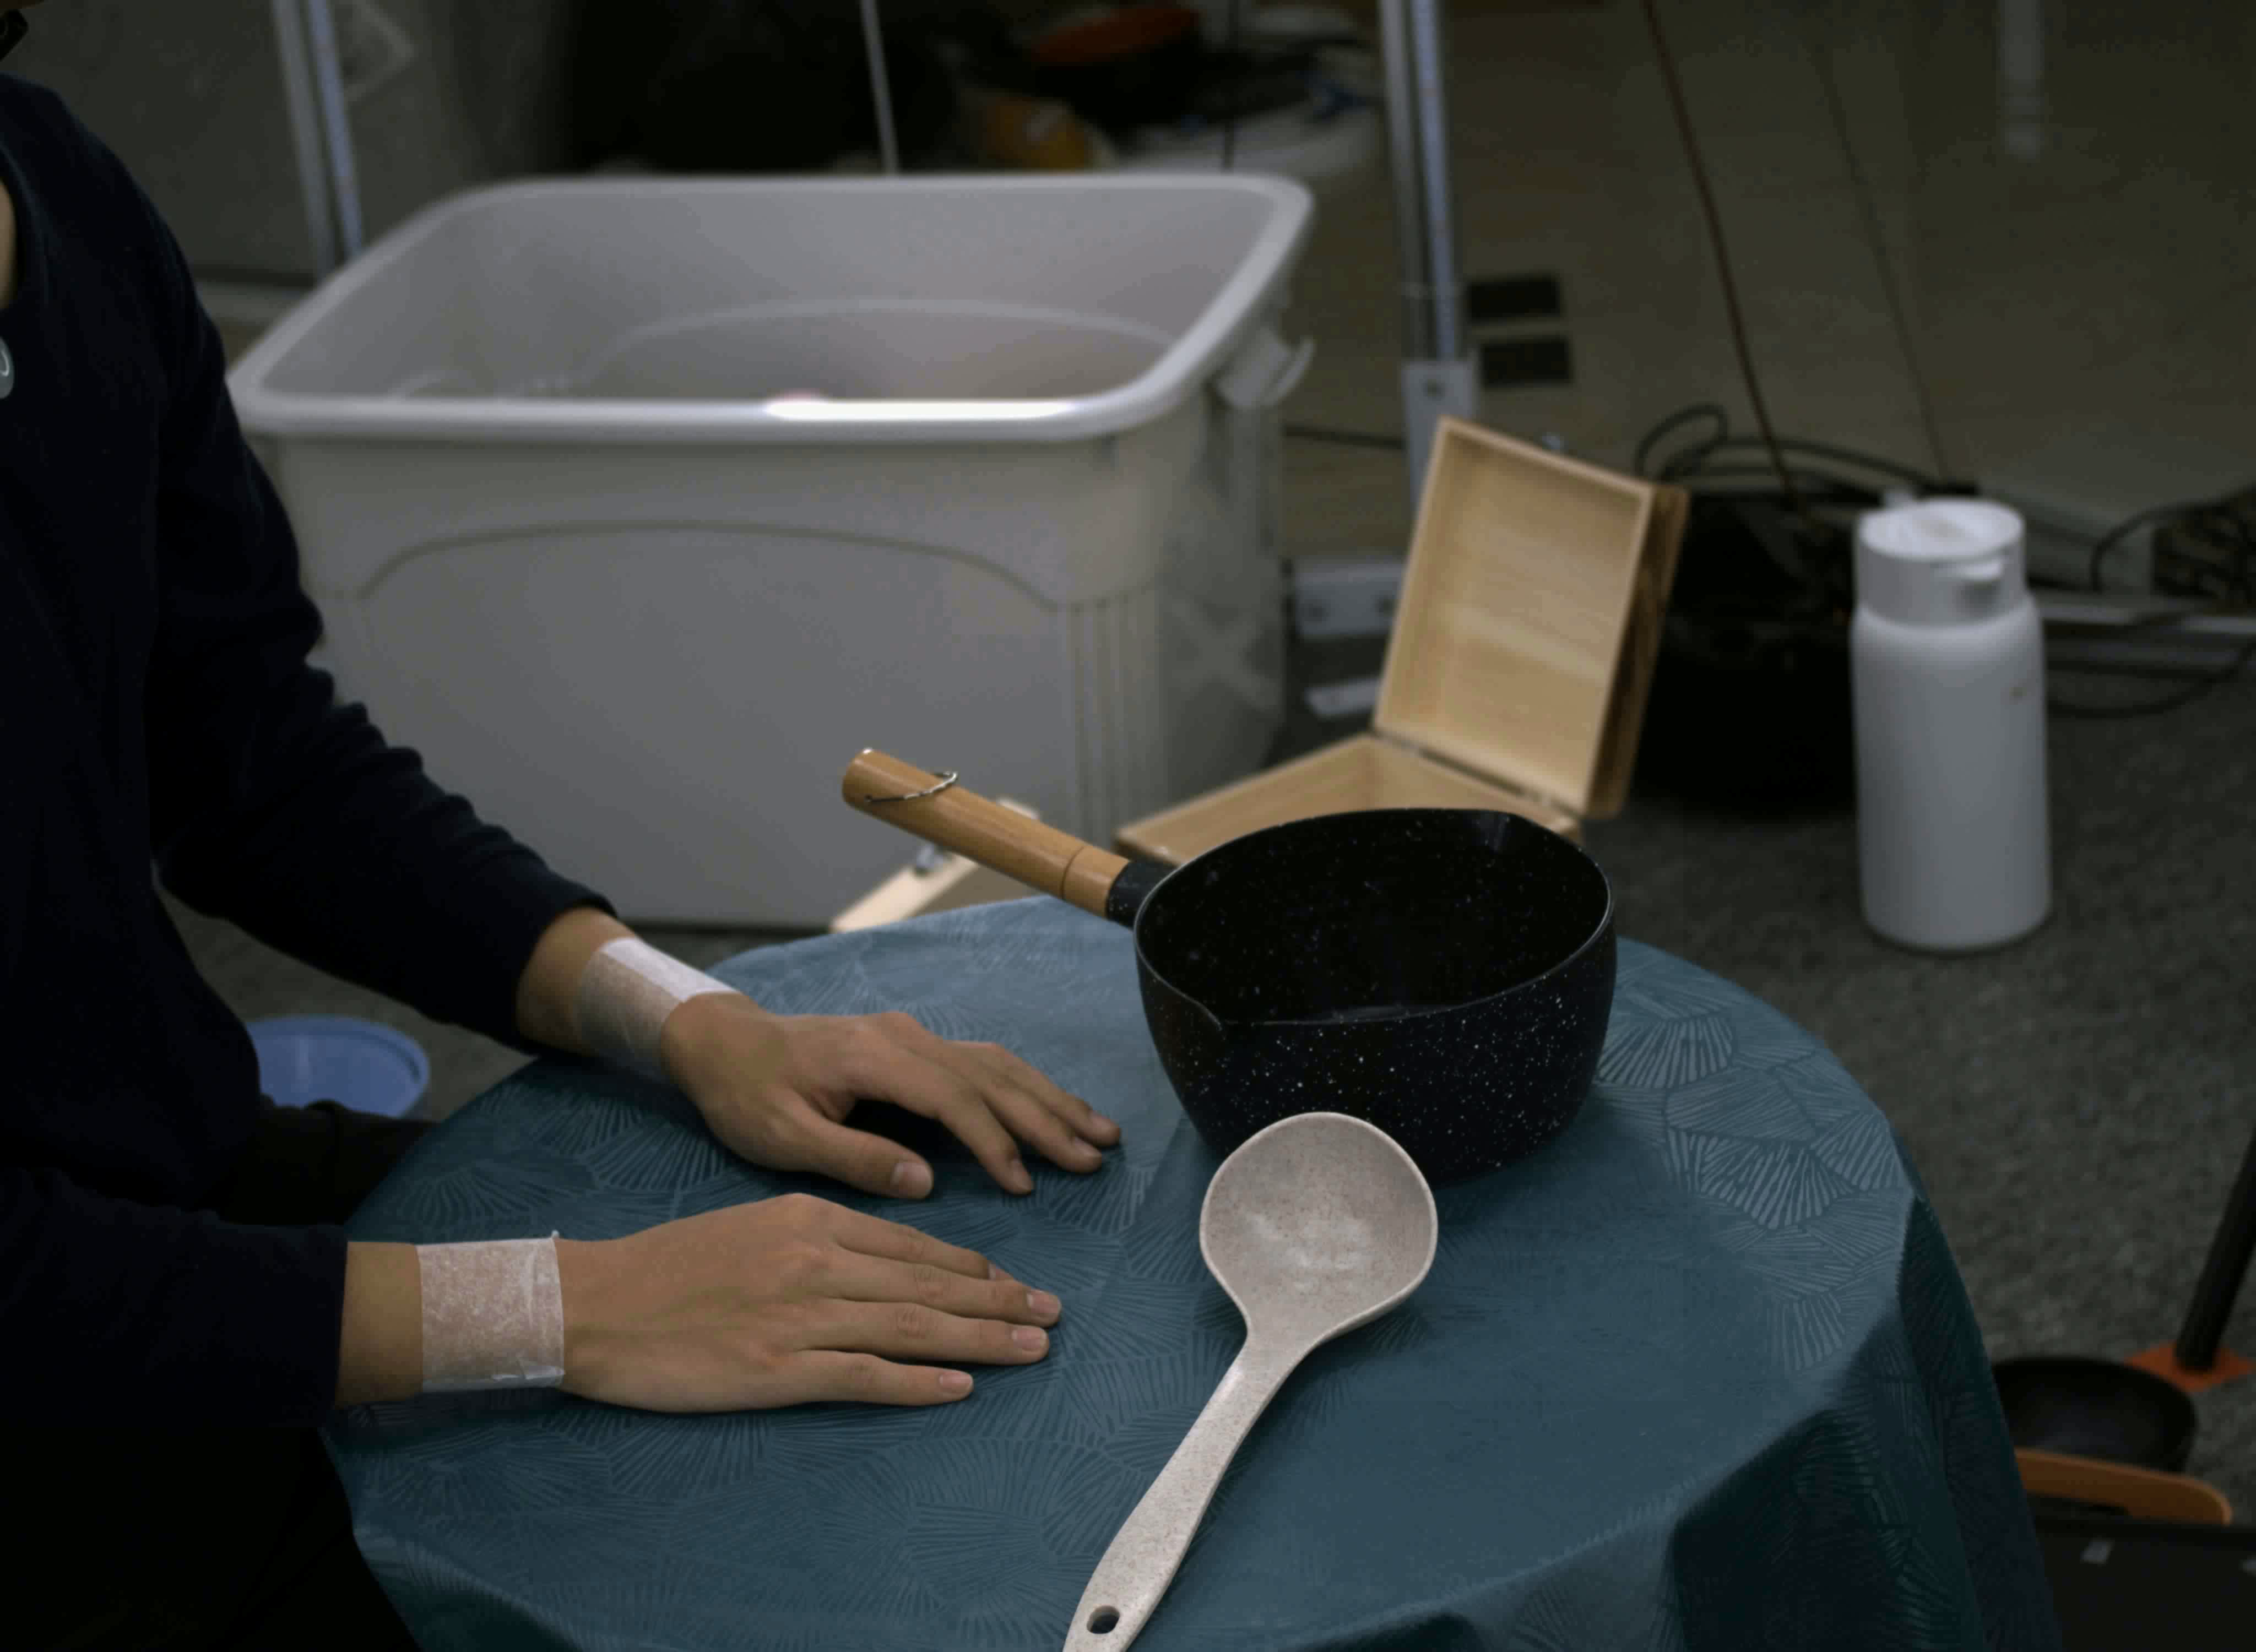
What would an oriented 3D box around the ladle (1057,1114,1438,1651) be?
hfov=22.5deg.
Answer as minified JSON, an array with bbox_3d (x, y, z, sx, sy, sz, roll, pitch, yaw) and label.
[{"bbox_3d":[0.030,0.192,1.948,0.089,0.070,0.271,11,30,18],"label":"ladle"}]

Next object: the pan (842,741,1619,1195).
[{"bbox_3d":[0.031,0.047,2.207,0.341,0.110,0.205,12,32,32],"label":"pan"}]
